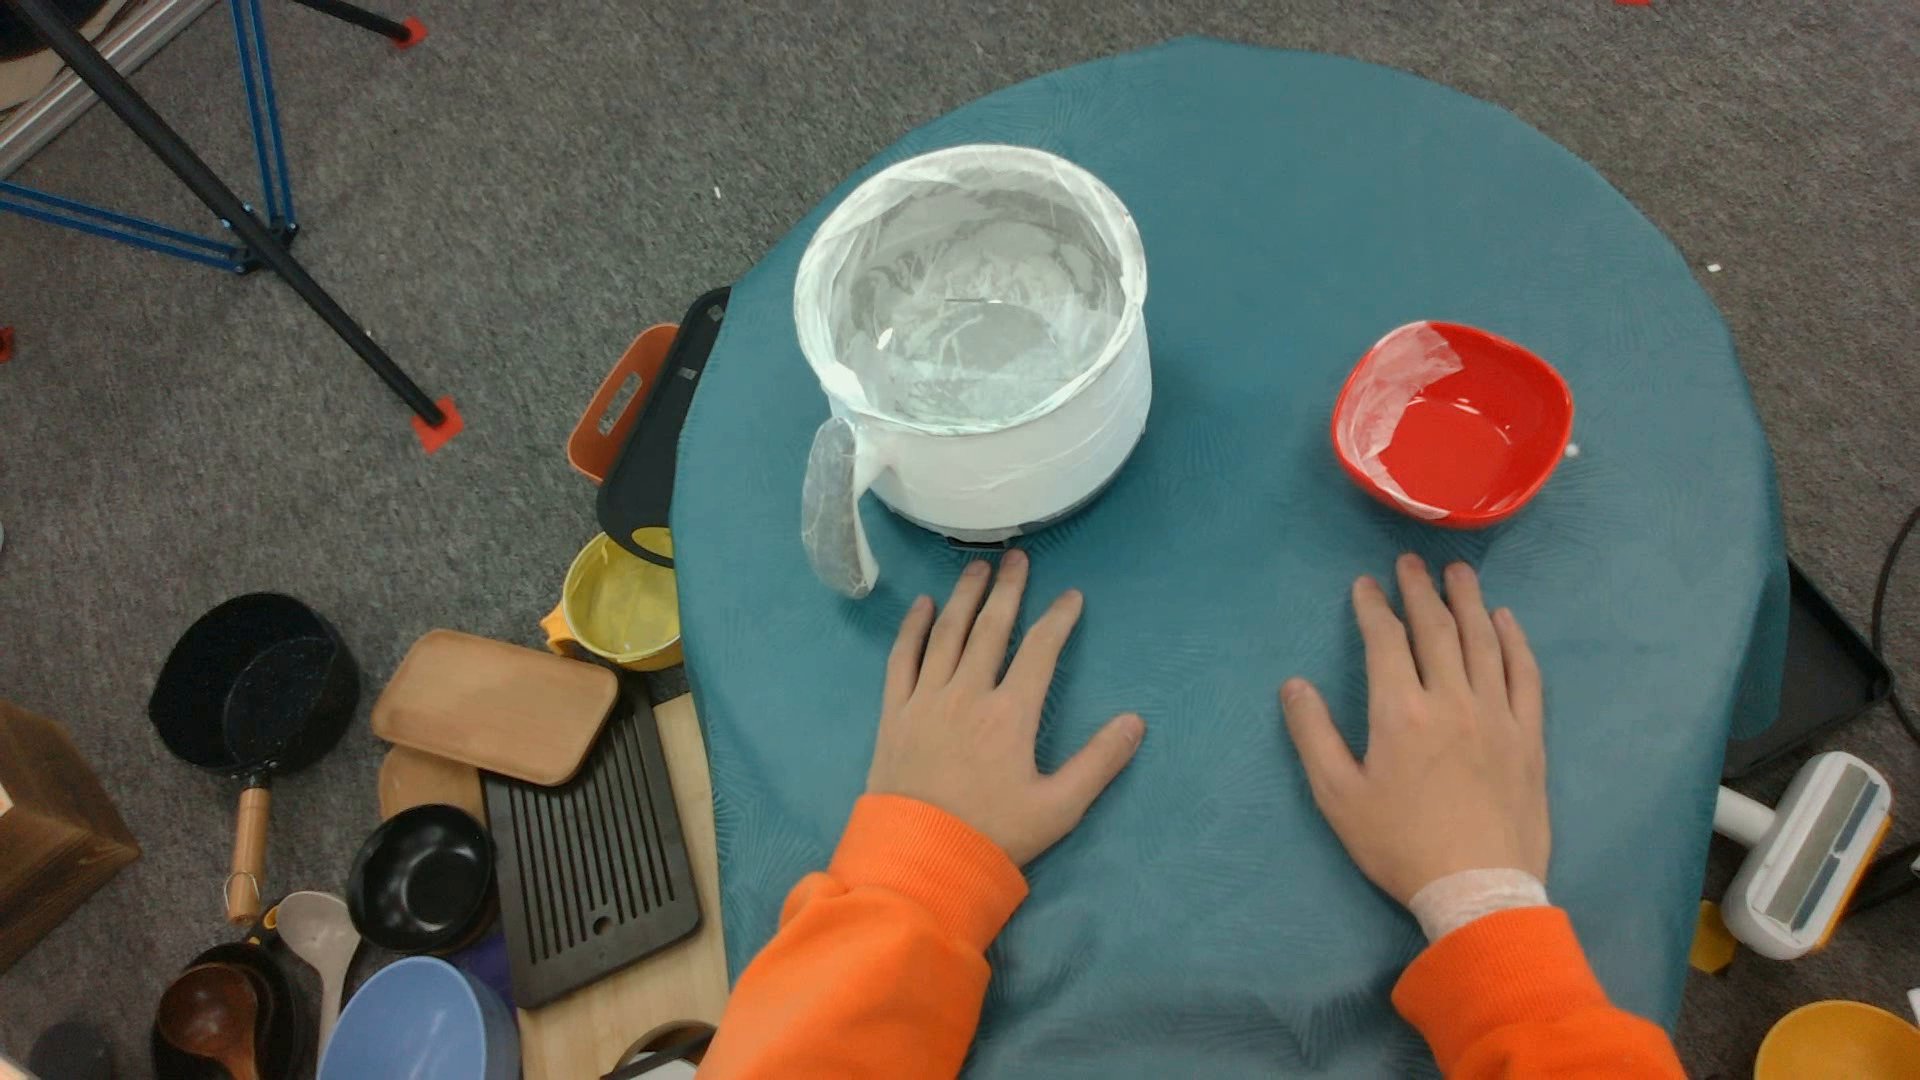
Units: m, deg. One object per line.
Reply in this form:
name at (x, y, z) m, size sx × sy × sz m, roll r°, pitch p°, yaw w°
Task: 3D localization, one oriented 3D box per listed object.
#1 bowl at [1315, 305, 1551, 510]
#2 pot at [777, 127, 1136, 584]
bowl at (0.244, -0.062, 0.723) m, size 0.119 × 0.051 × 0.119 m, roll -3°, pitch 63°, yaw 6°
pot at (-0.012, -0.087, 0.728) m, size 0.179 × 0.136 × 0.234 m, roll 30°, pitch 72°, yaw 22°
